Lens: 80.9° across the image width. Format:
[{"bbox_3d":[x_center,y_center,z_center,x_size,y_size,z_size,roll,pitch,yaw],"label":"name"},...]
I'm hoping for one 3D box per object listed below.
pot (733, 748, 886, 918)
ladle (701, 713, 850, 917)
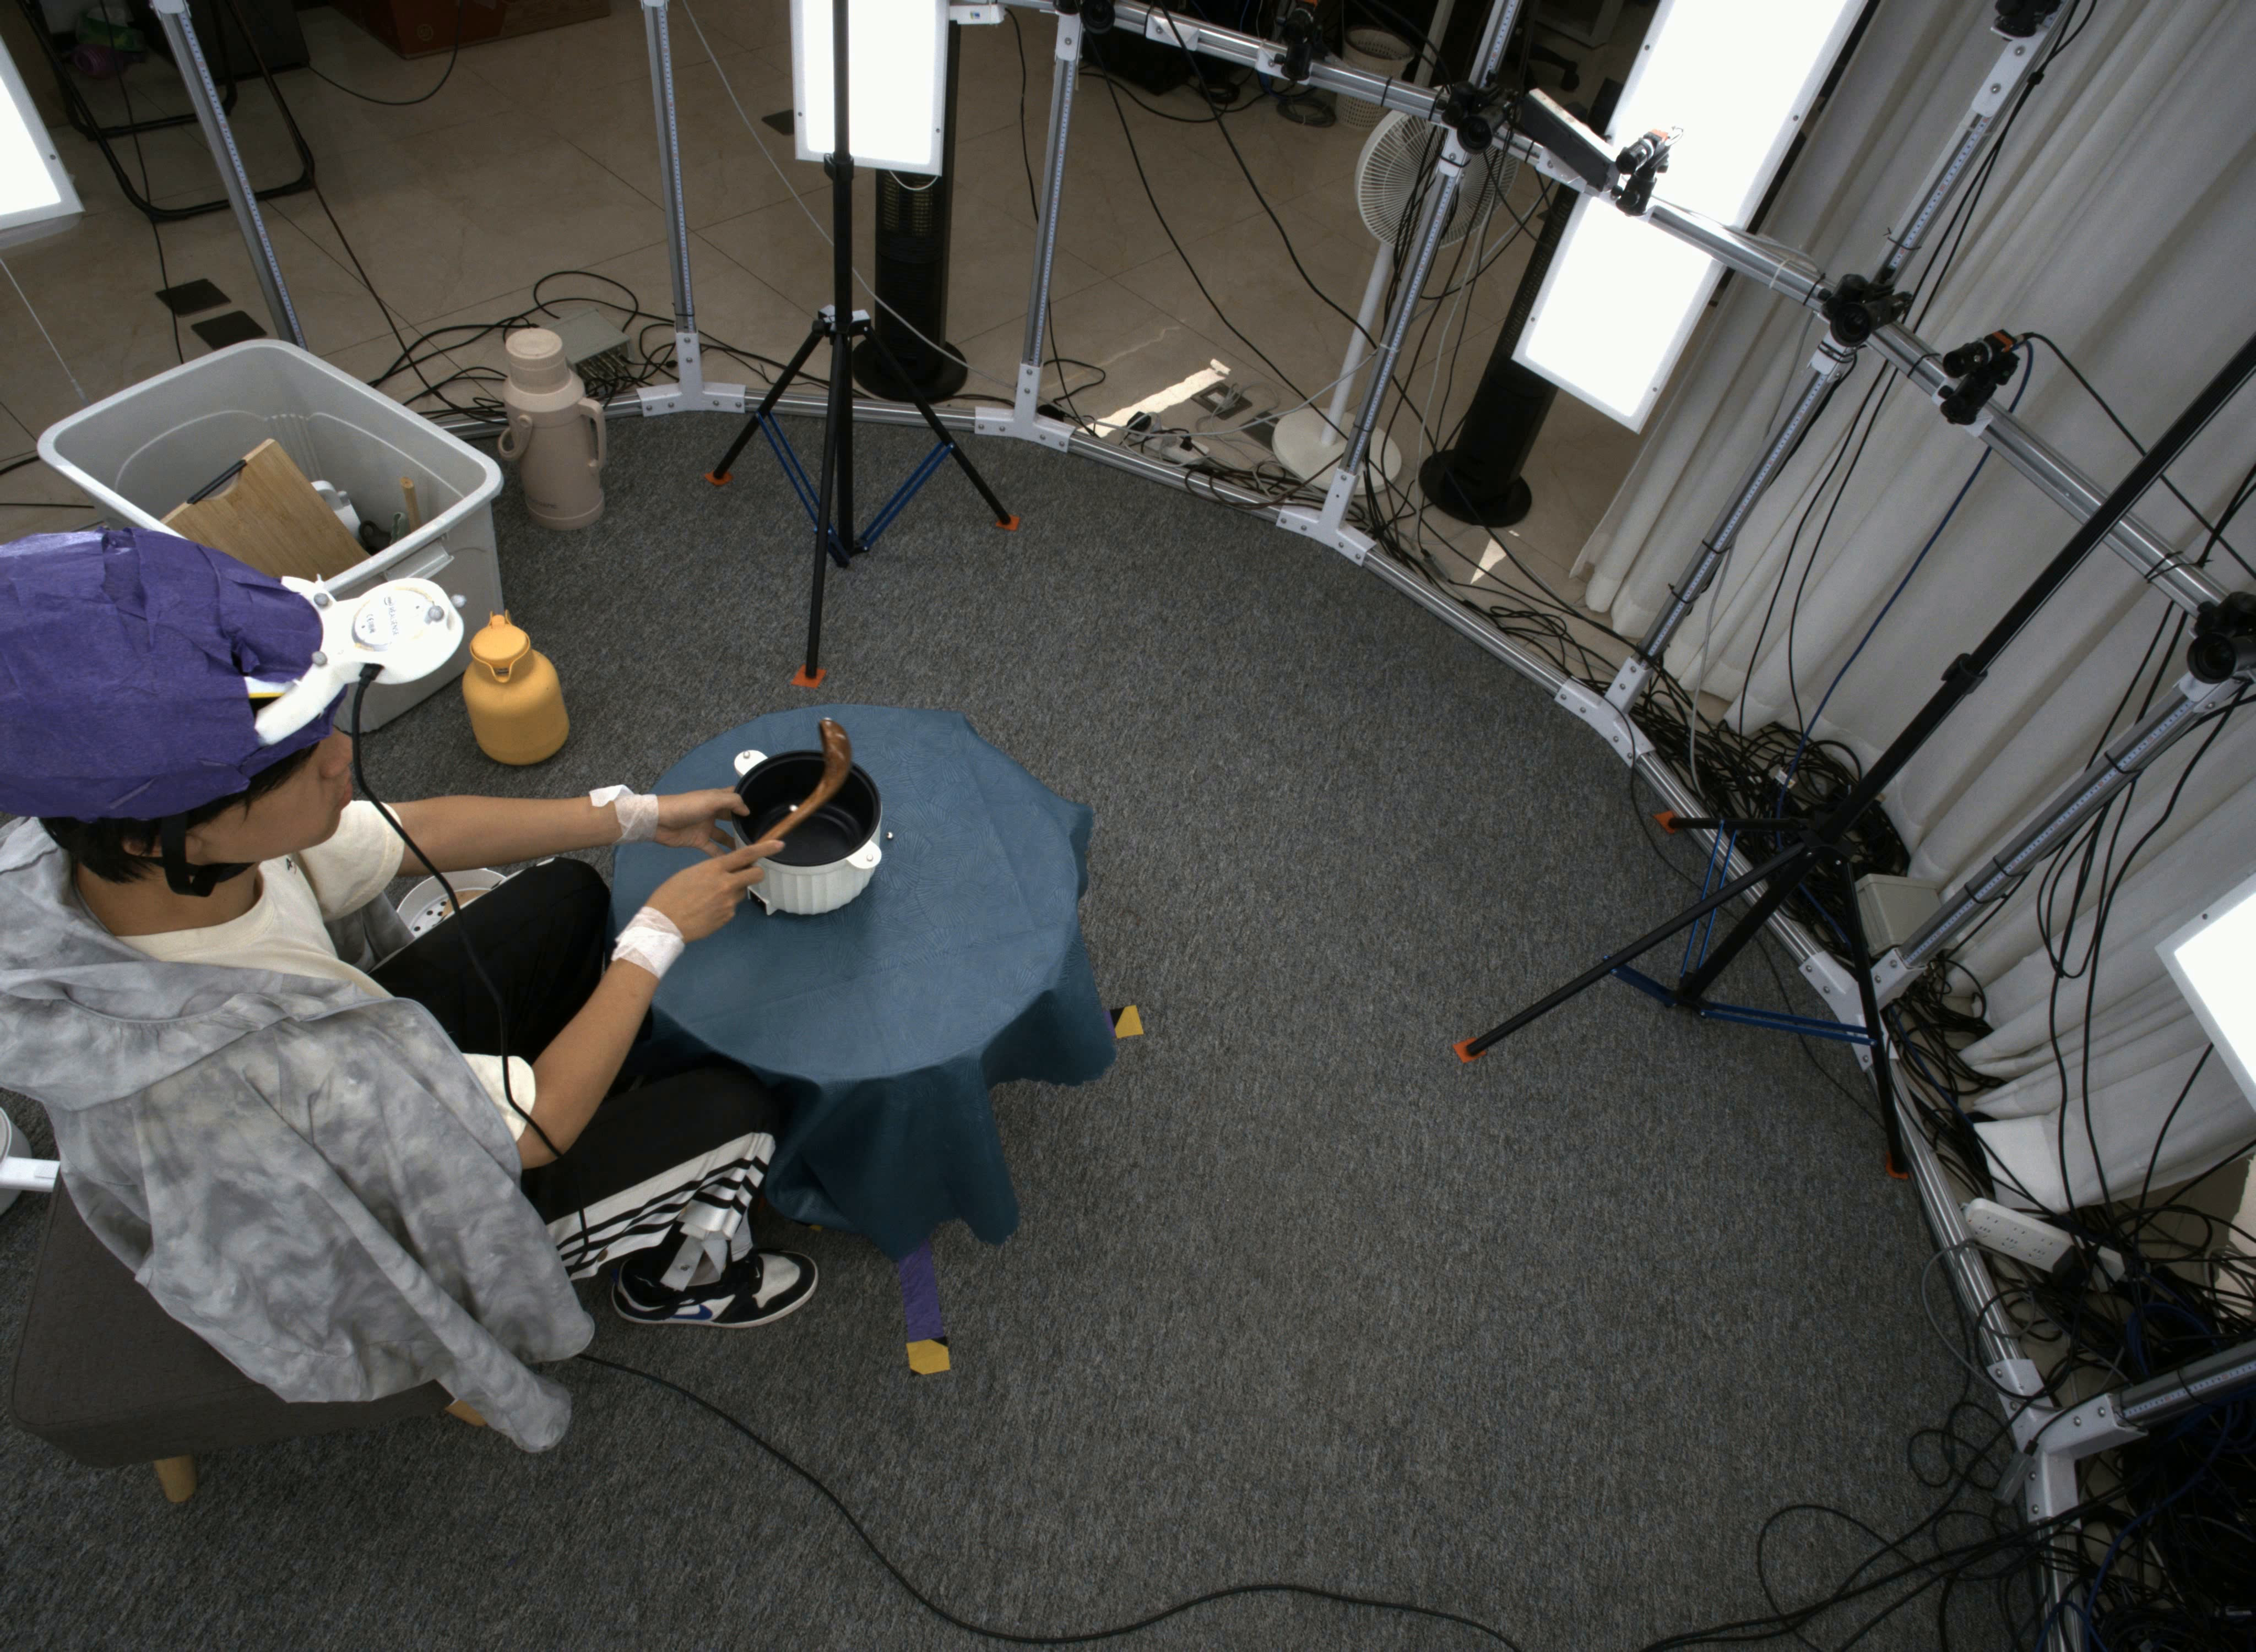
[{"bbox_3d":[-0.394,0.011,1.636,0.236,0.145,0.190,37,58,14],"label":"pot"},{"bbox_3d":[-0.417,-0.020,1.495,0.075,0.083,0.274,37,66,10],"label":"ladle"}]
